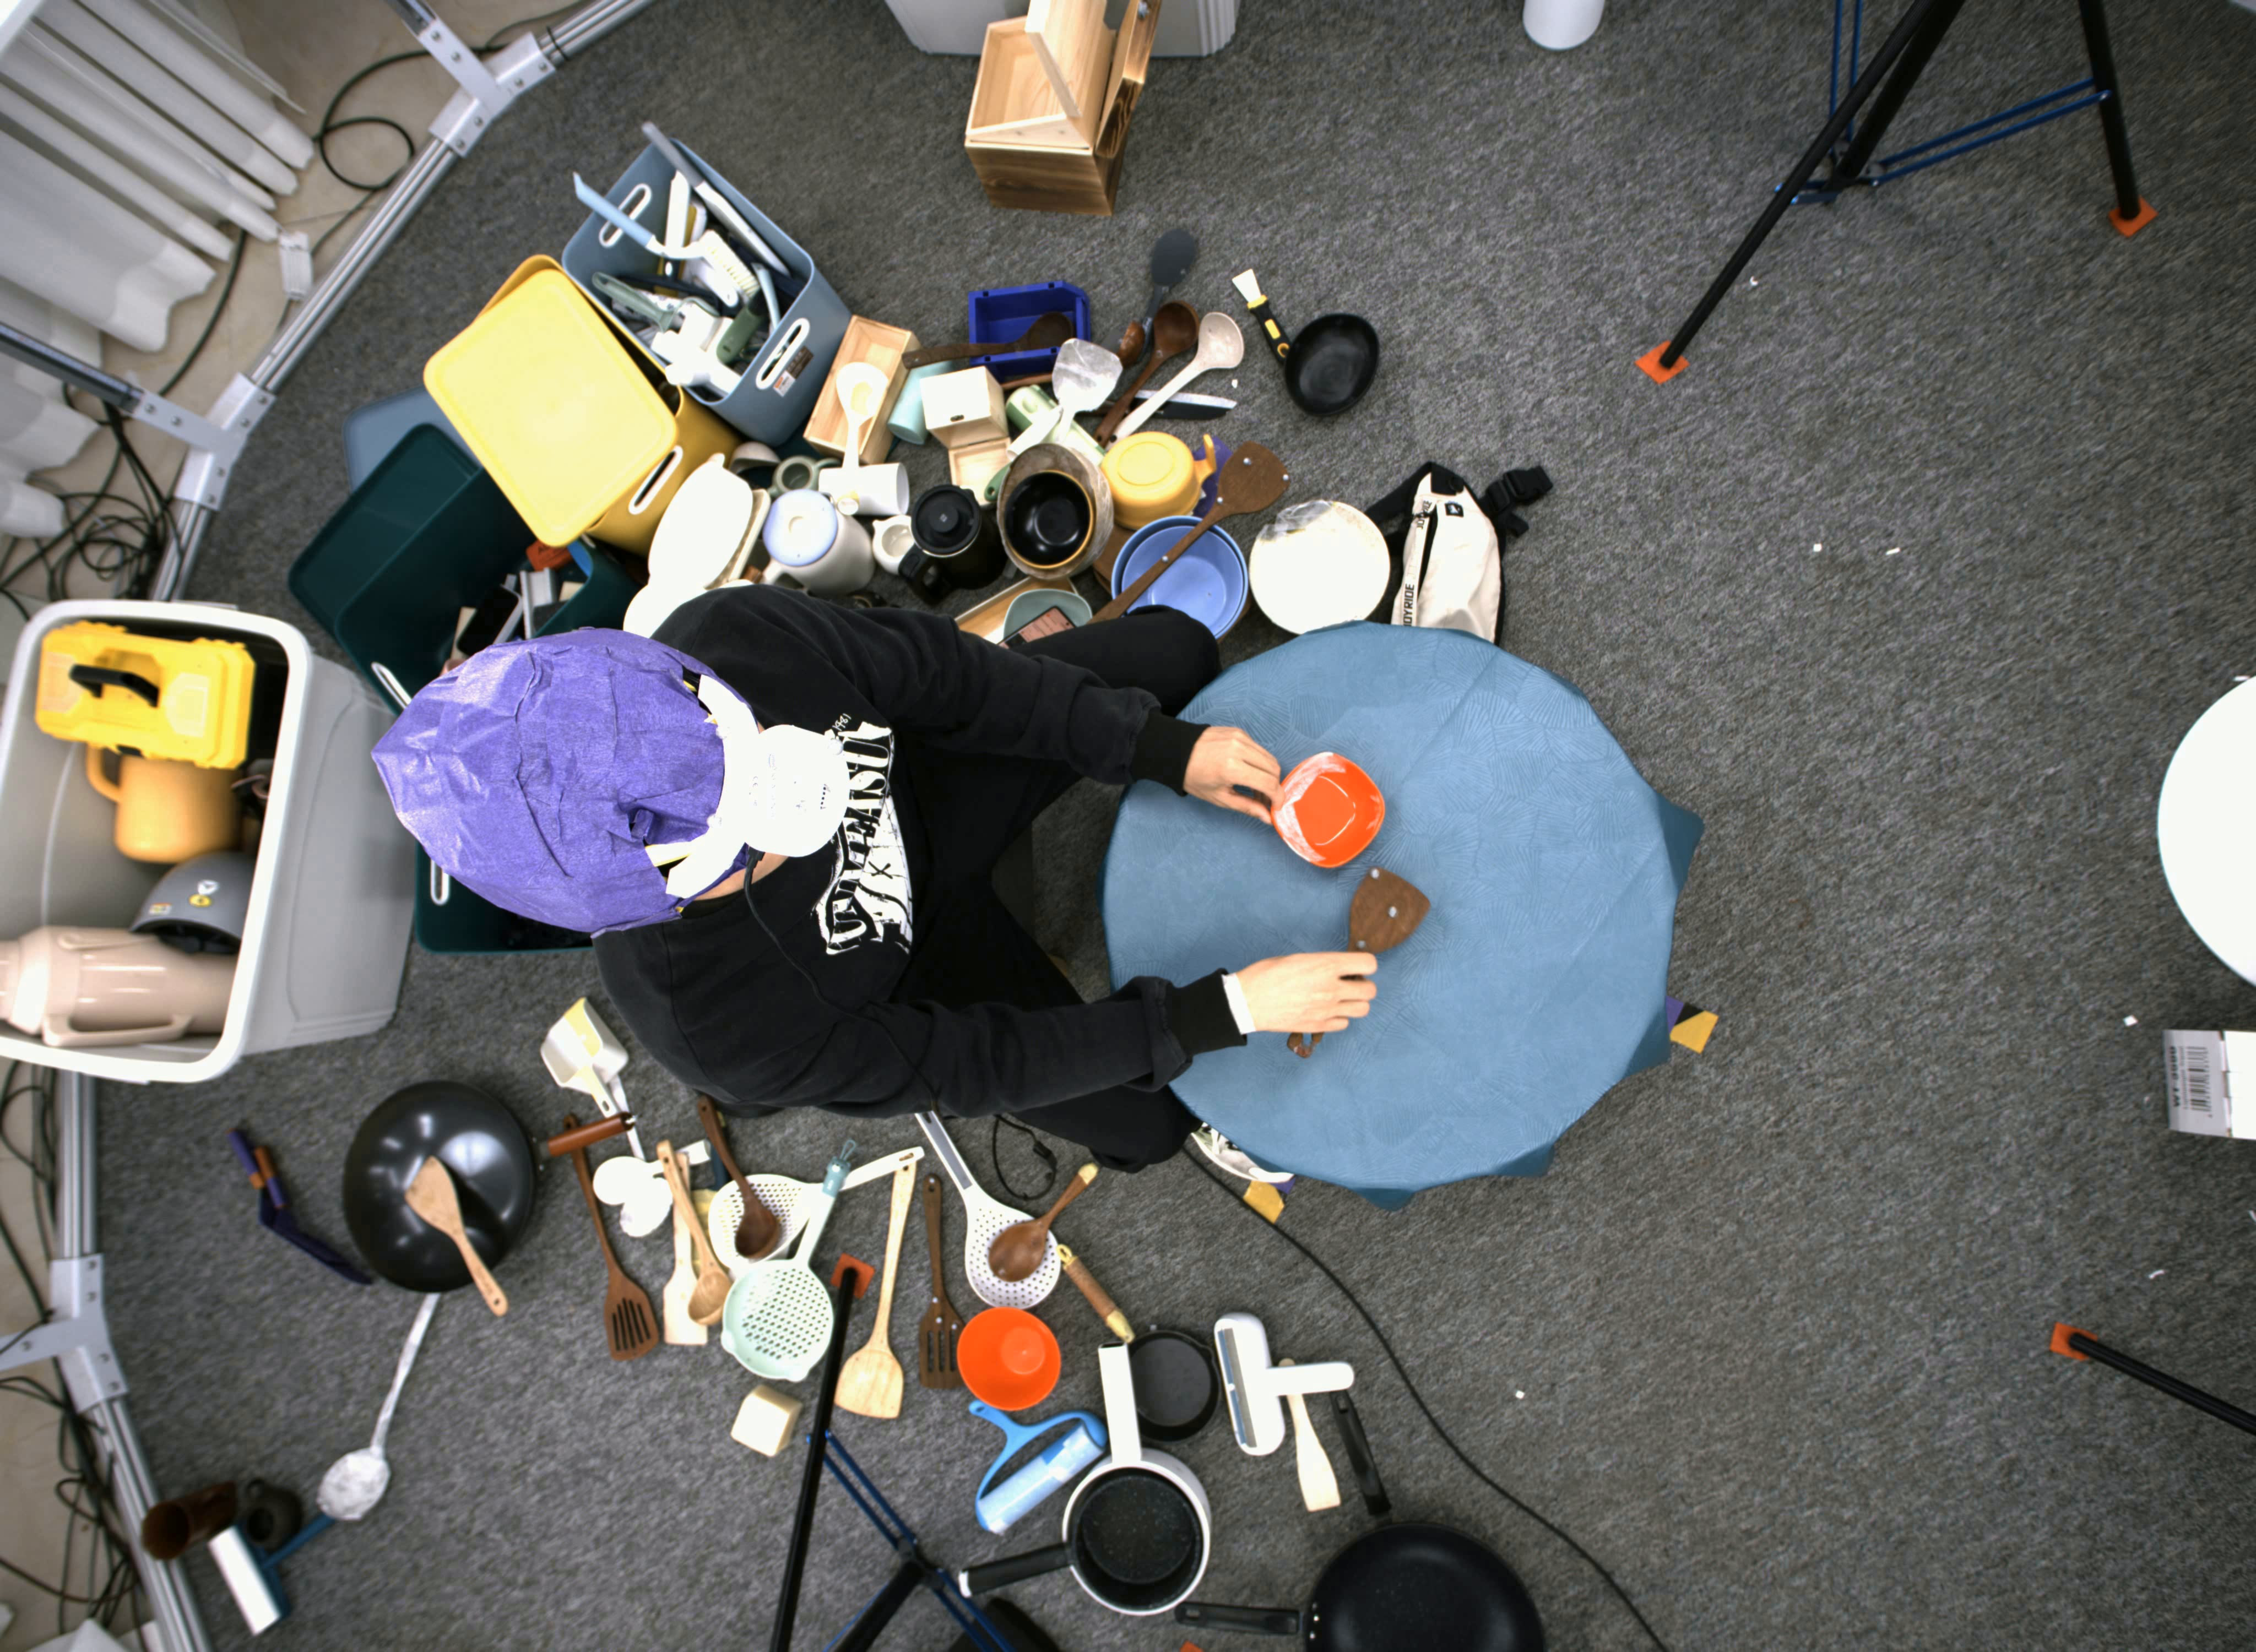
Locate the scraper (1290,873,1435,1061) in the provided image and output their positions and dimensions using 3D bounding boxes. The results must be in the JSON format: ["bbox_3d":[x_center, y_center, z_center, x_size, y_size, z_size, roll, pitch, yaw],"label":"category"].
[{"bbox_3d":[0.228,0.144,1.390,0.076,0.011,0.209,35,78,4],"label":"scraper"}]

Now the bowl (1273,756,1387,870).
[{"bbox_3d":[0.208,-0.014,1.450,0.119,0.051,0.119,0,92,-3],"label":"bowl"}]
